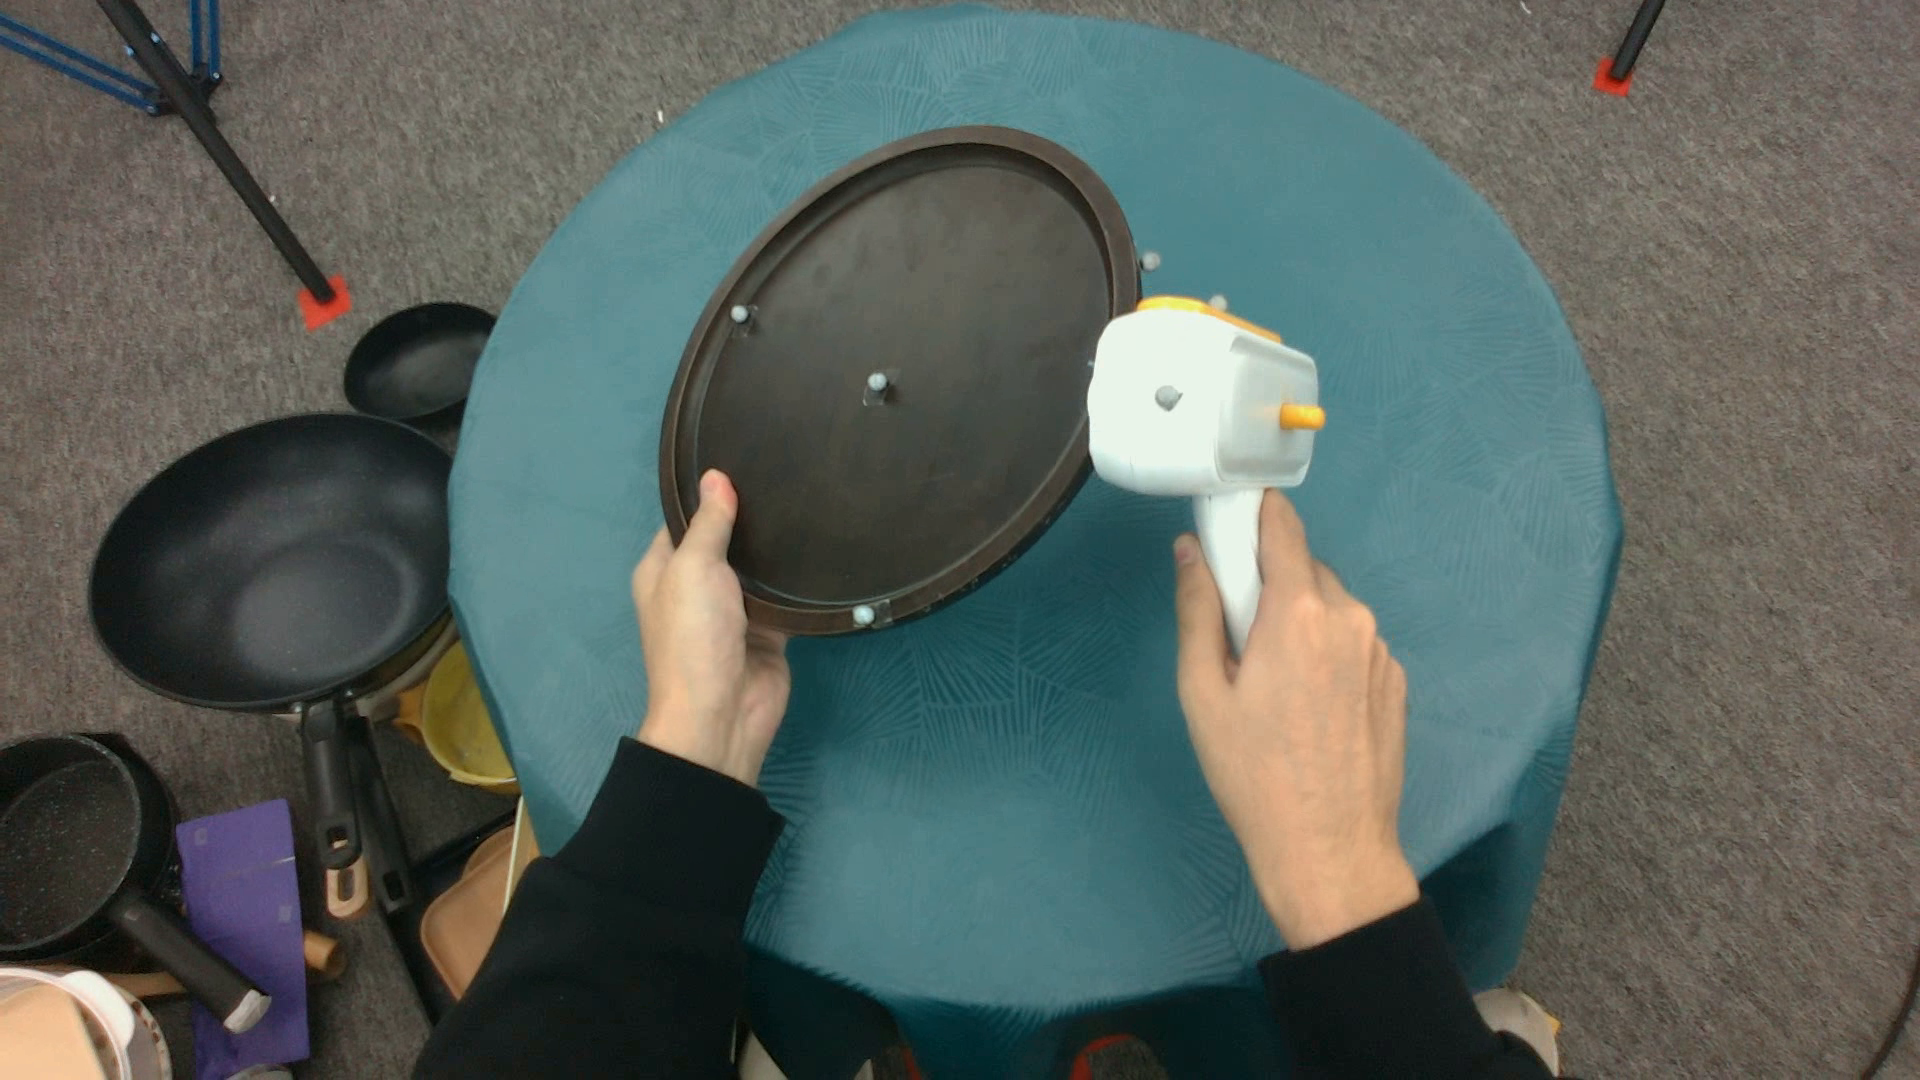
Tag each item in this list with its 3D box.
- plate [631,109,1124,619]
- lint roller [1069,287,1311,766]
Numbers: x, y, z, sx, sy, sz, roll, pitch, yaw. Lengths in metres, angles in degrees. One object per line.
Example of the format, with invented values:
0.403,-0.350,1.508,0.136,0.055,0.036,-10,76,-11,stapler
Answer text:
-0.043,-0.083,0.616,0.254,0.029,0.255,-12,63,26,plate
0.104,-0.004,0.554,0.074,0.193,0.192,-4,95,20,lint roller
